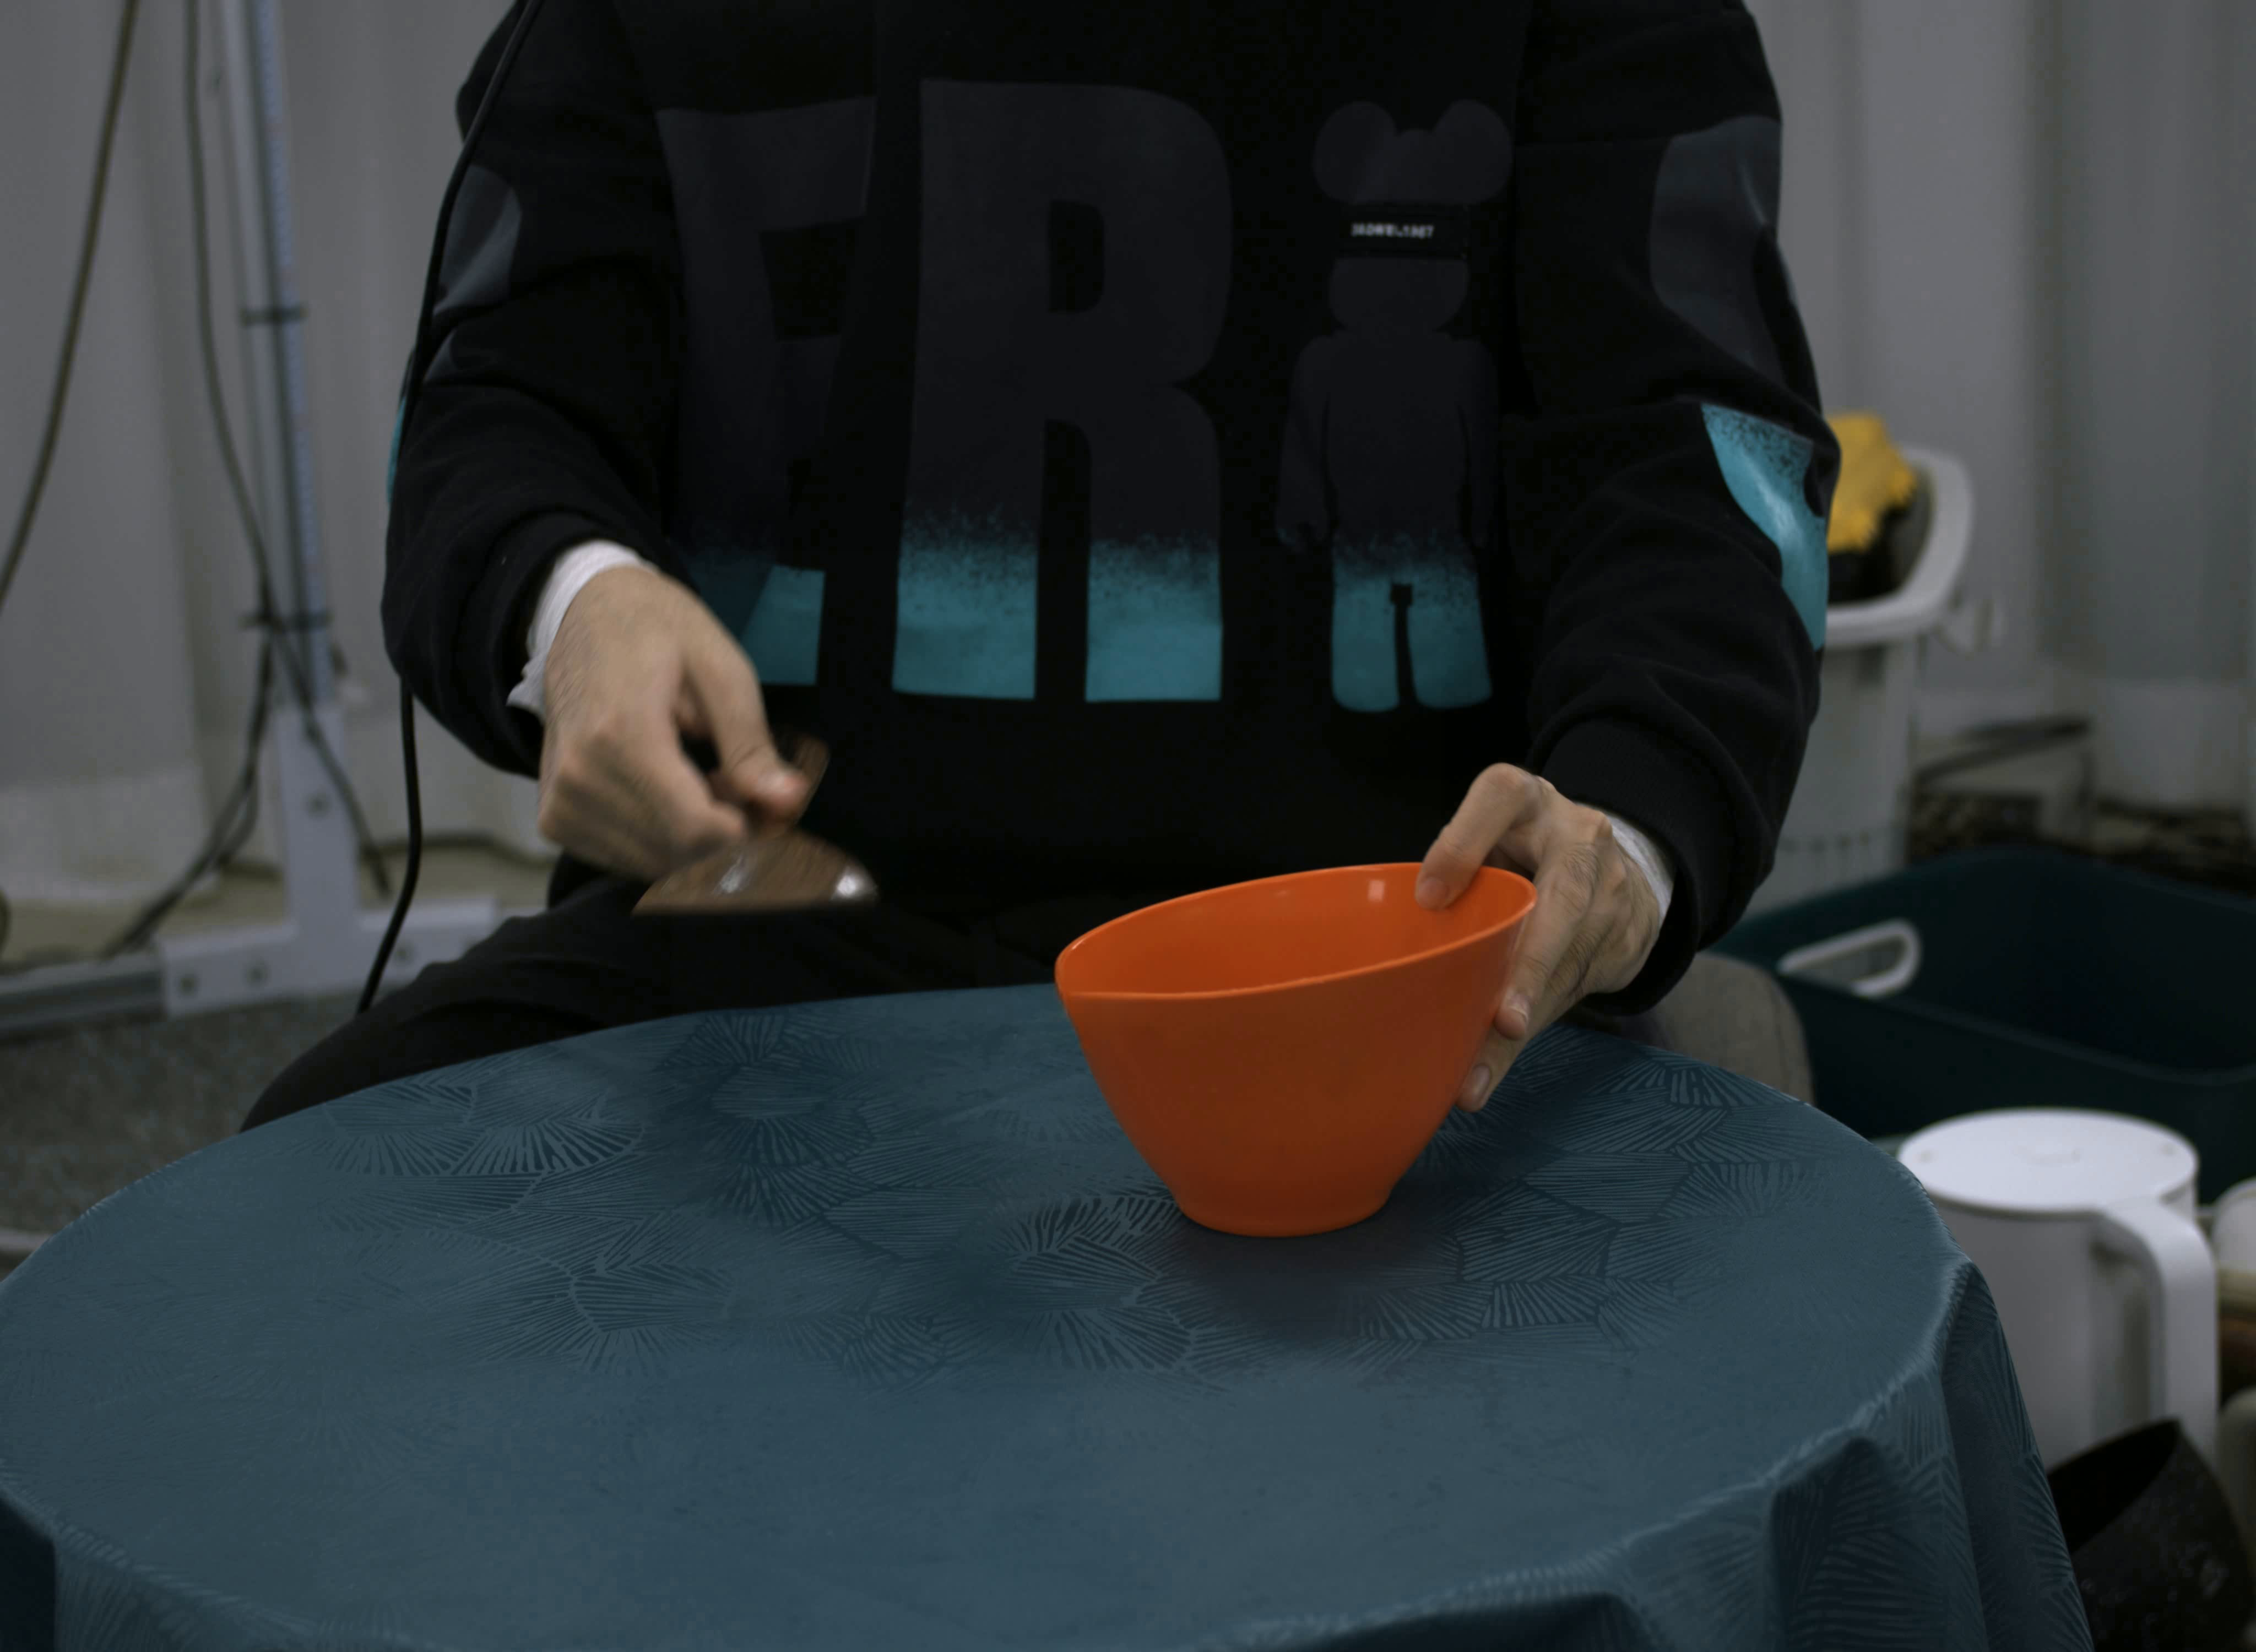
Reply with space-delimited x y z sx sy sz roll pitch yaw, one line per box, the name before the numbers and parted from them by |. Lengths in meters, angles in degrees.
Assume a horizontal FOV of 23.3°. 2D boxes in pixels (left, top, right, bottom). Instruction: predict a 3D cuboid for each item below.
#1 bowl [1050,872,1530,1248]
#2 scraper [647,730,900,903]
bowl | 0.051 0.072 1.670 0.147 0.104 0.149 -4 16 1
scraper | -0.108 -0.003 1.723 0.075 0.011 0.213 -3 14 -1
